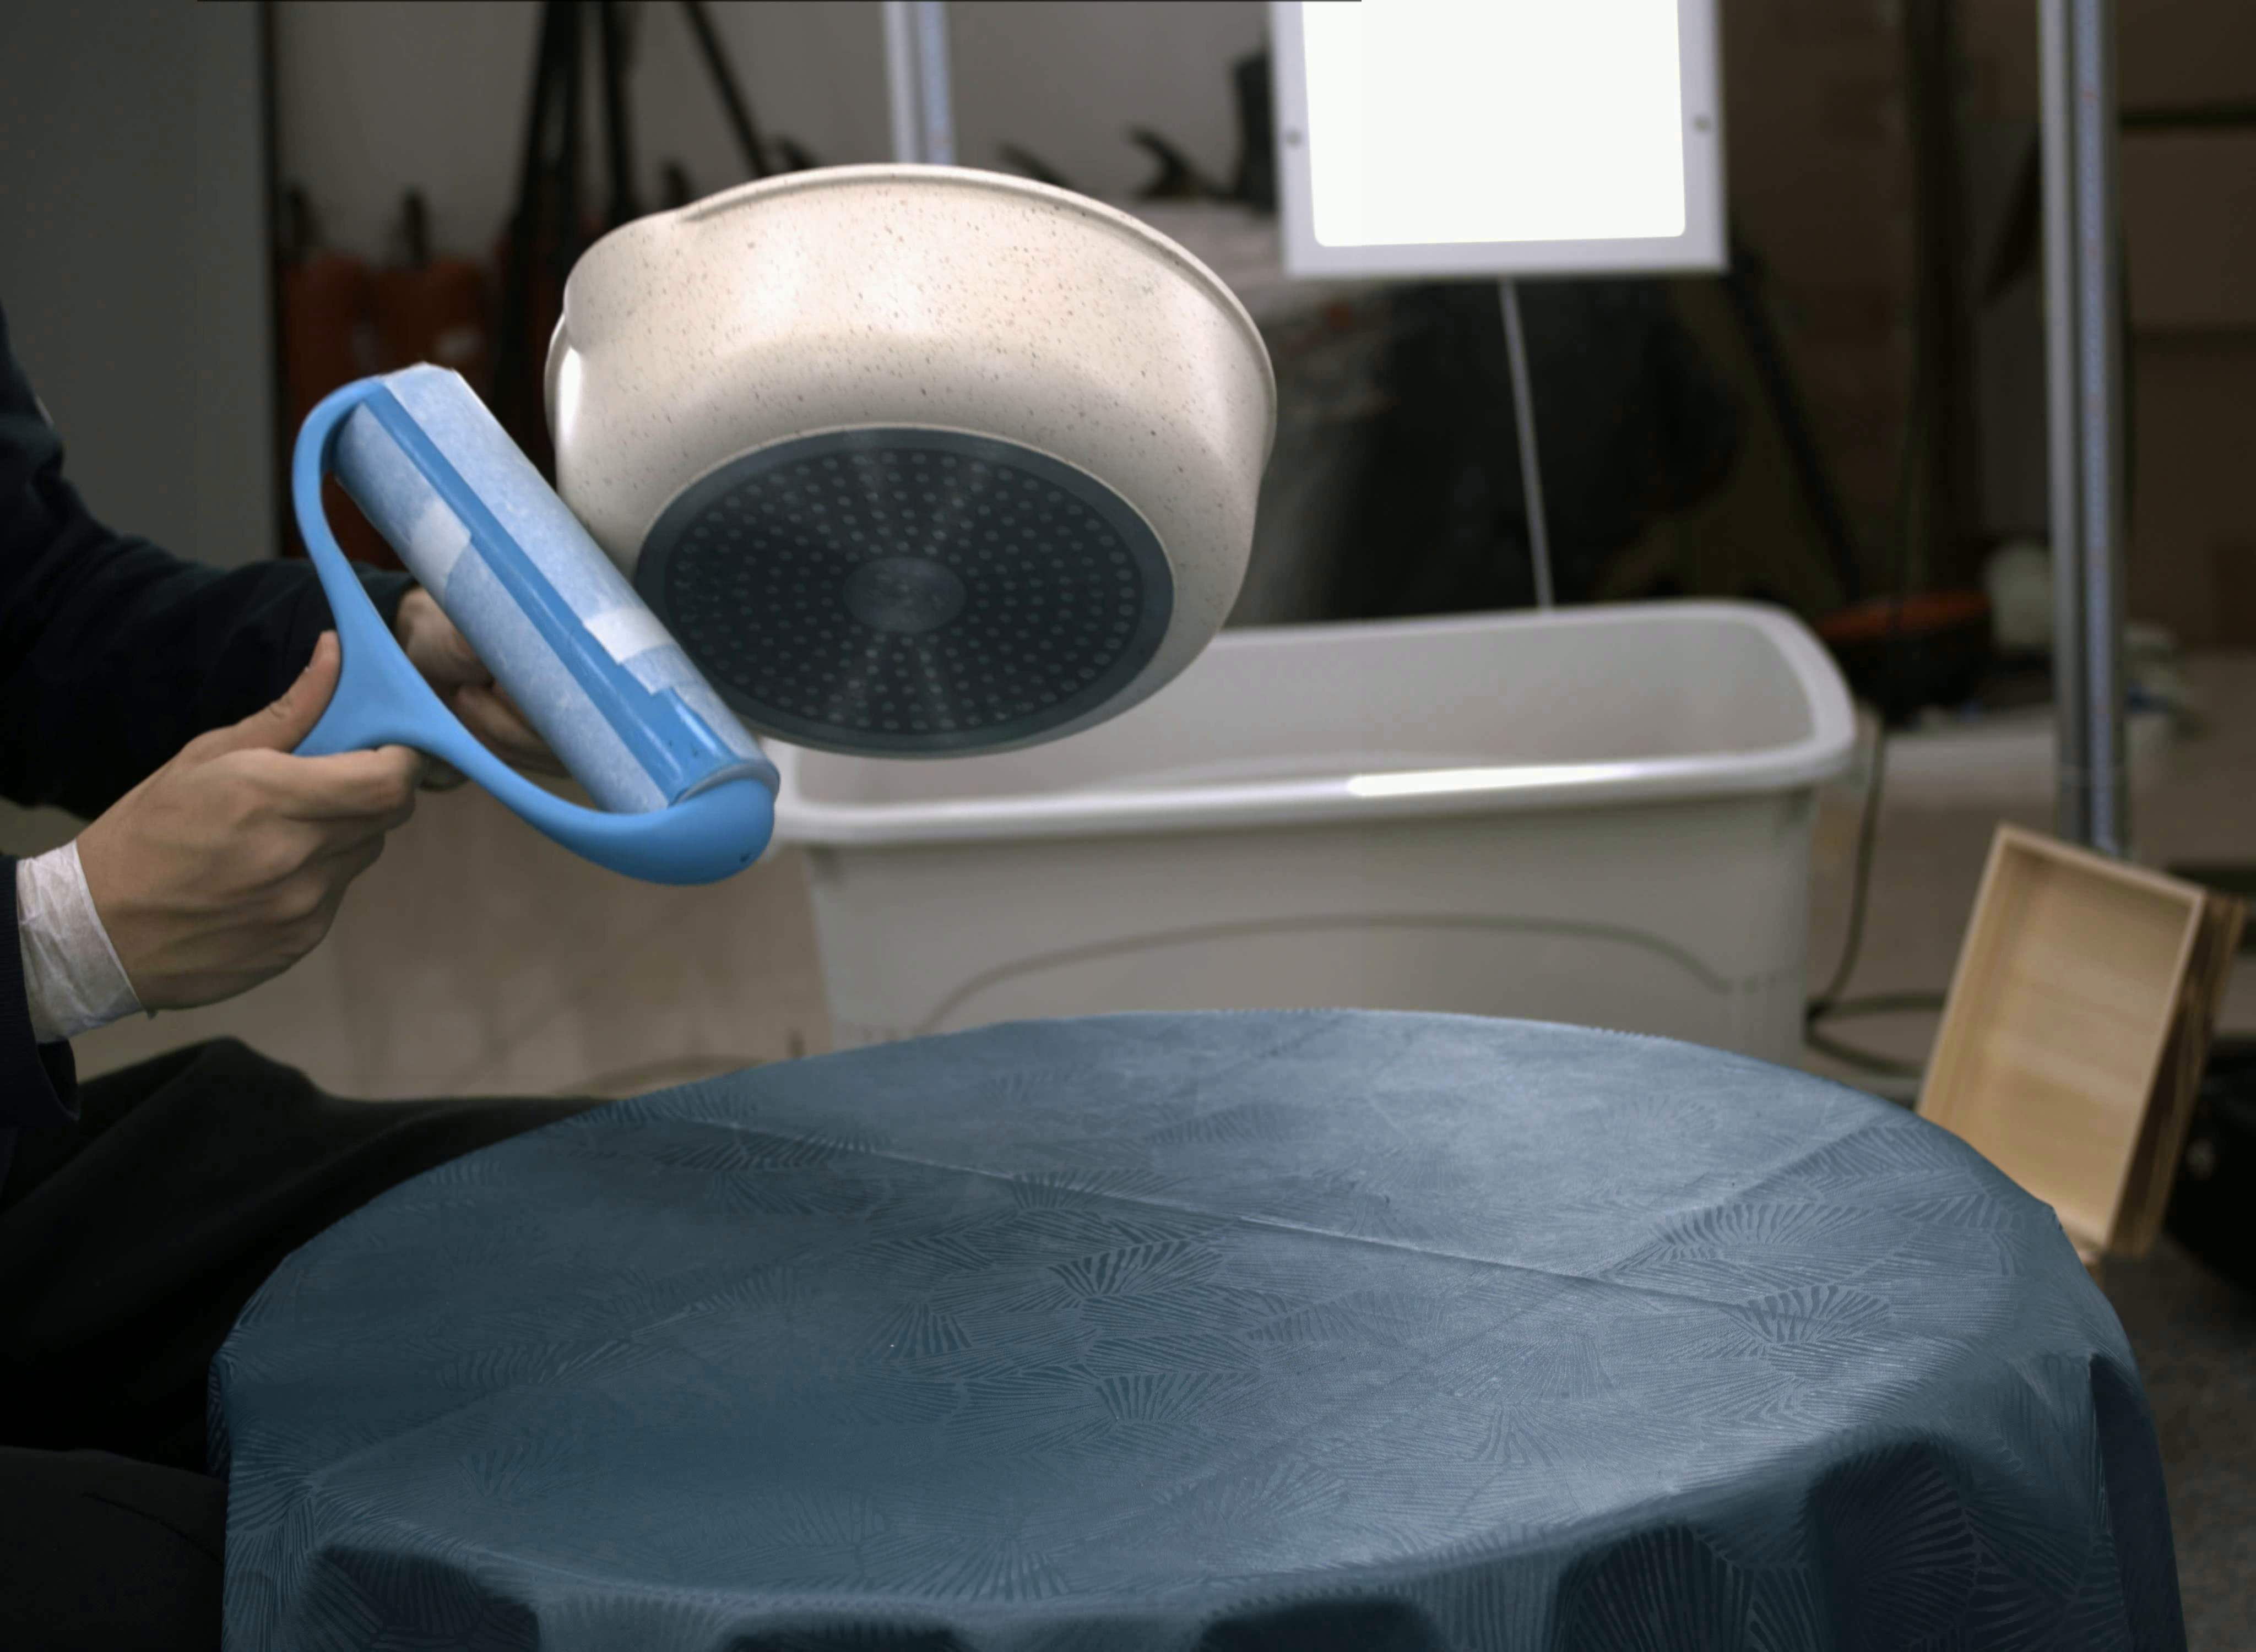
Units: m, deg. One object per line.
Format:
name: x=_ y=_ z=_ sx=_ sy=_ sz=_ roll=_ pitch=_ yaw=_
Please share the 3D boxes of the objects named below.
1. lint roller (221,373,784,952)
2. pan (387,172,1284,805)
lint roller: x=-0.232 y=-0.028 z=1.808 sx=0.180 sy=0.231 sz=0.067 roll=-42 pitch=-26 yaw=-2
pan: x=-0.129 y=-0.075 z=1.926 sx=0.258 sy=0.102 sz=0.444 roll=23 pitch=-40 yaw=-32
